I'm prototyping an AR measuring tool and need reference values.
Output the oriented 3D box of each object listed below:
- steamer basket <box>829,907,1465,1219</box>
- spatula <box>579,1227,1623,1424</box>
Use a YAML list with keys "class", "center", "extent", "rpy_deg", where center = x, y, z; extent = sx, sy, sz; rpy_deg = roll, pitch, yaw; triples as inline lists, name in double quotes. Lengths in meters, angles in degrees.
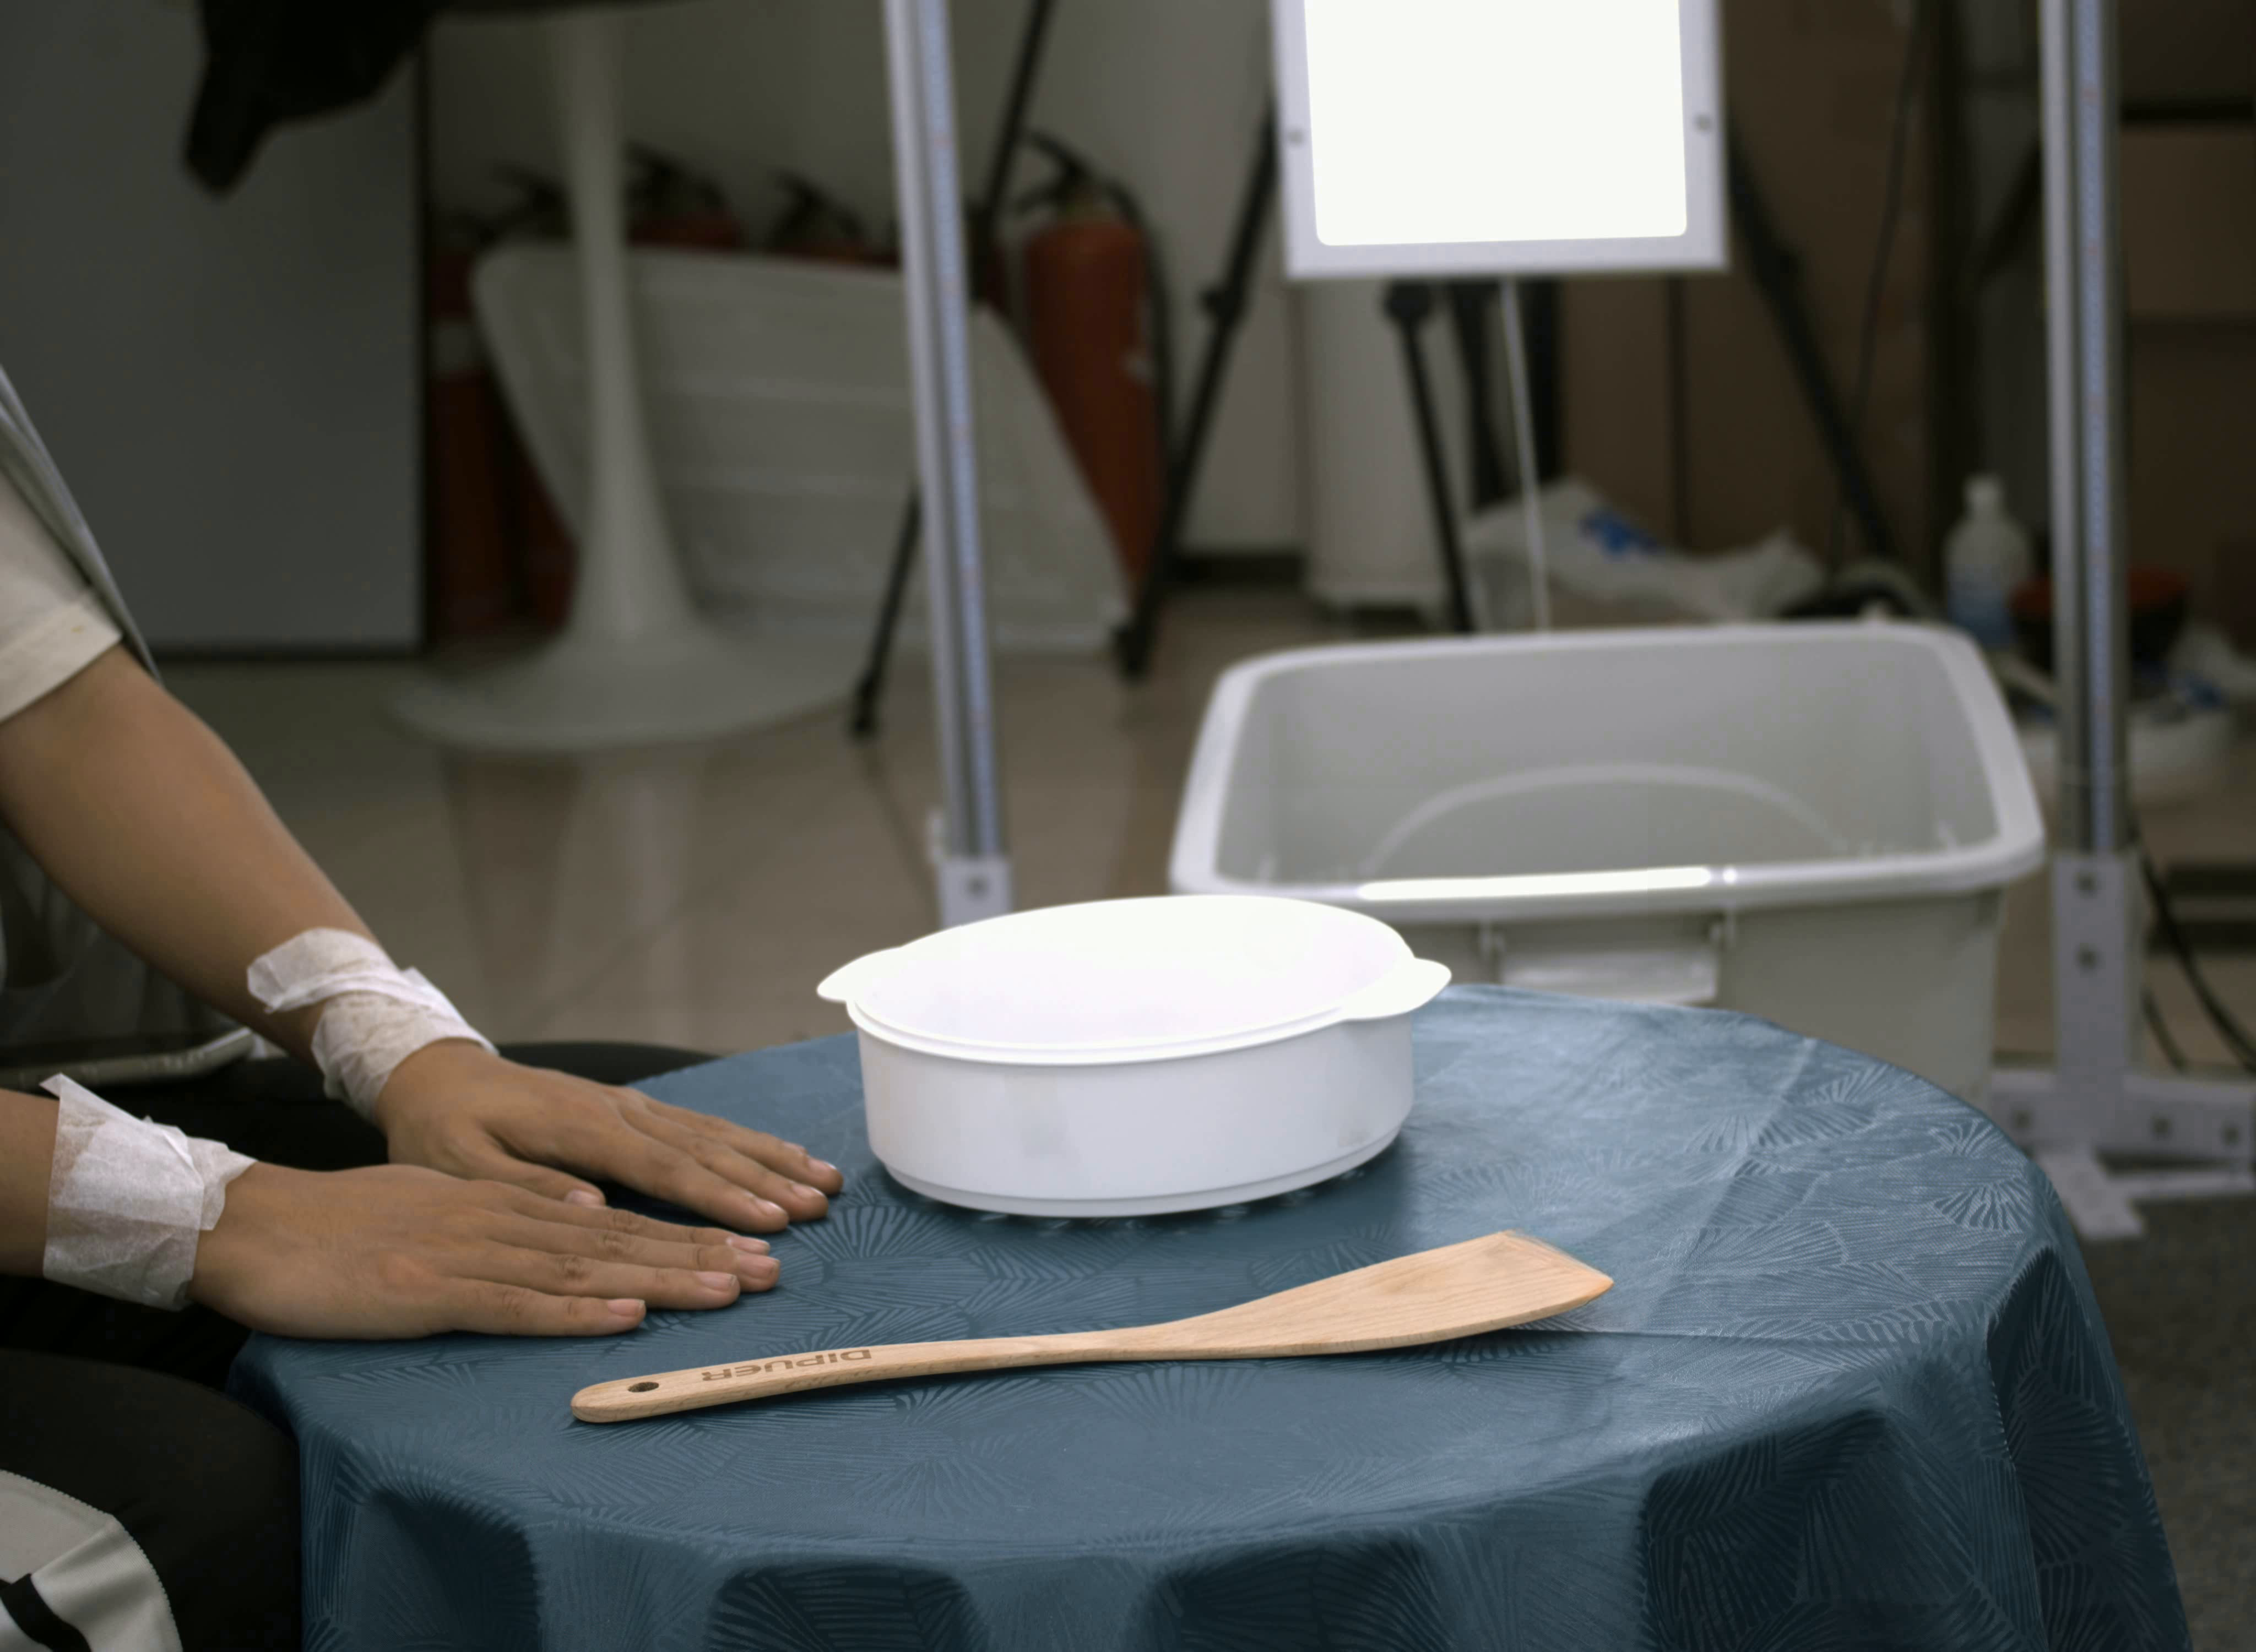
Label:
- class: "steamer basket"
  center: [0.008, 0.083, 1.936]
  extent: [0.234, 0.069, 0.198]
  rpy_deg: [0, 13, 24]
- class: "spatula"
  center: [-0.010, 0.159, 1.731]
  extent: [0.325, 0.016, 0.080]
  rpy_deg: [-7, 13, -4]
